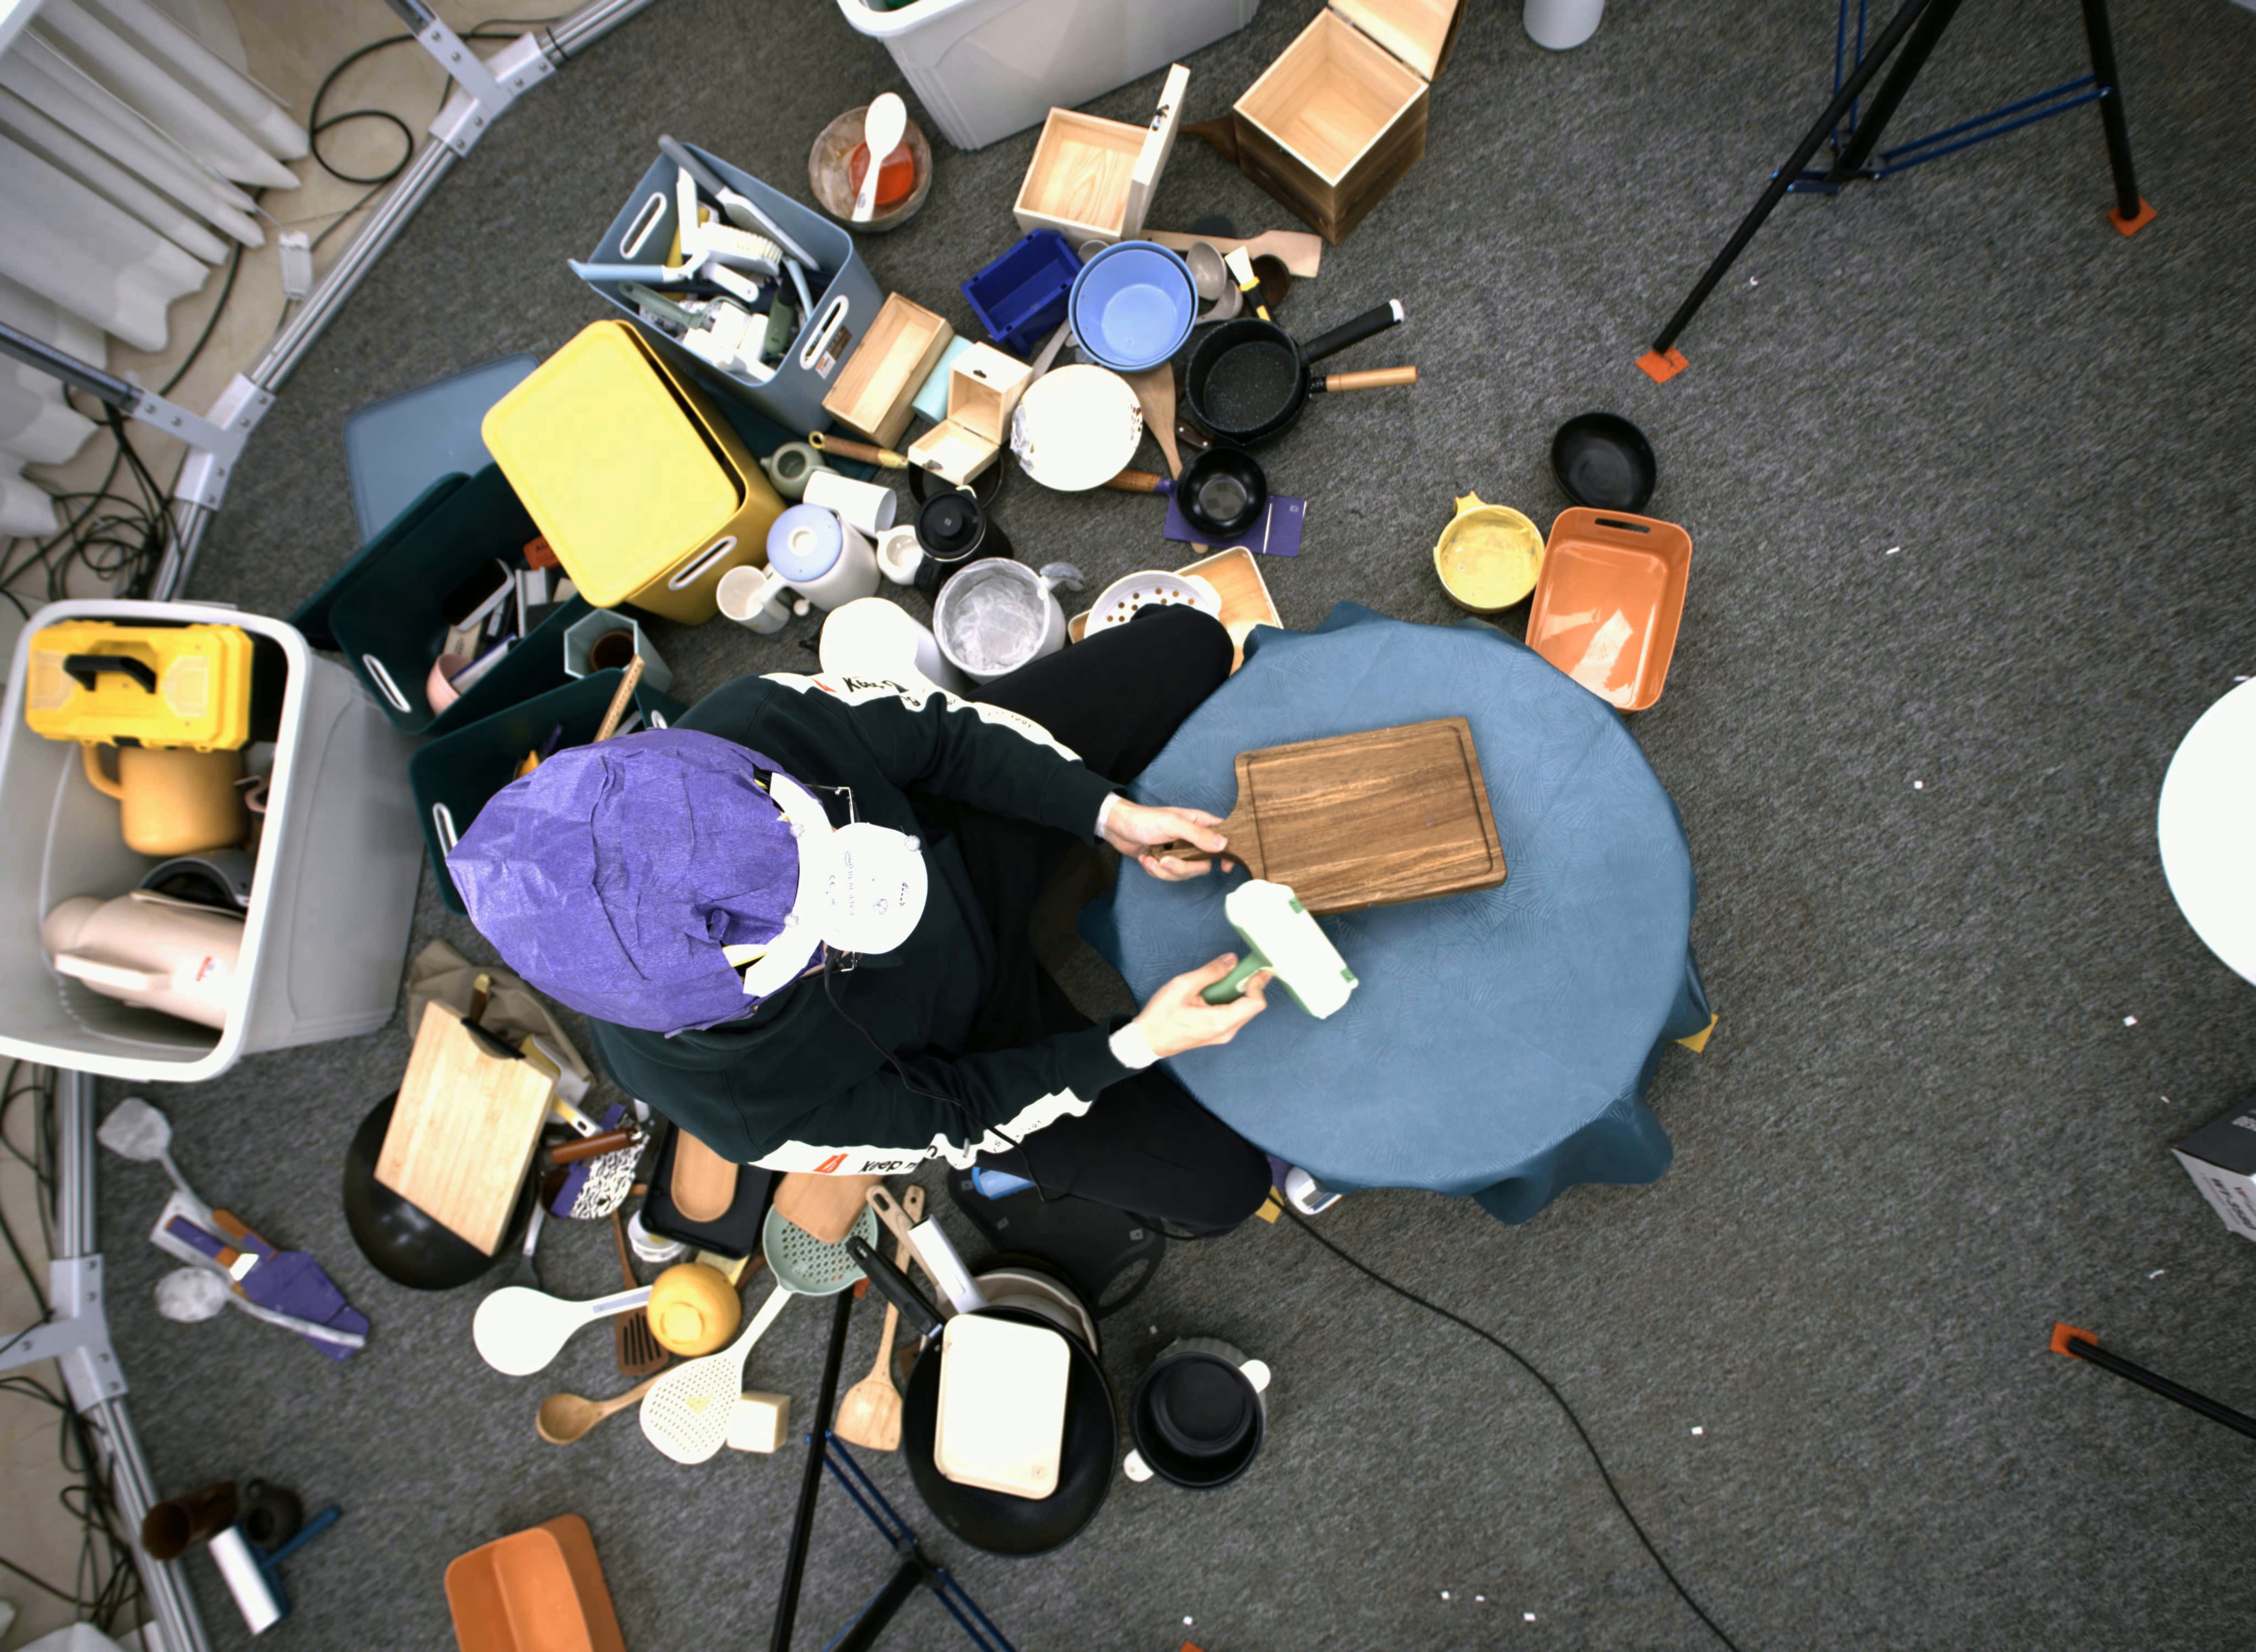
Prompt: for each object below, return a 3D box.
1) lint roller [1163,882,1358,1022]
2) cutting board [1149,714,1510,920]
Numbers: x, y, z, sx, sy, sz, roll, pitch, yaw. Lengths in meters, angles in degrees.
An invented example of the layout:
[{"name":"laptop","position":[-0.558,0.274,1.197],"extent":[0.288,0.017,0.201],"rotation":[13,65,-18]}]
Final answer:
[{"name":"lint roller","position":[0.122,0.160,1.381],"extent":[0.184,0.201,0.080],"rotation":[-35,45,6]},{"name":"cutting board","position":[0.195,-0.001,1.418],"extent":[0.353,0.023,0.197],"rotation":[-10,64,6]}]
